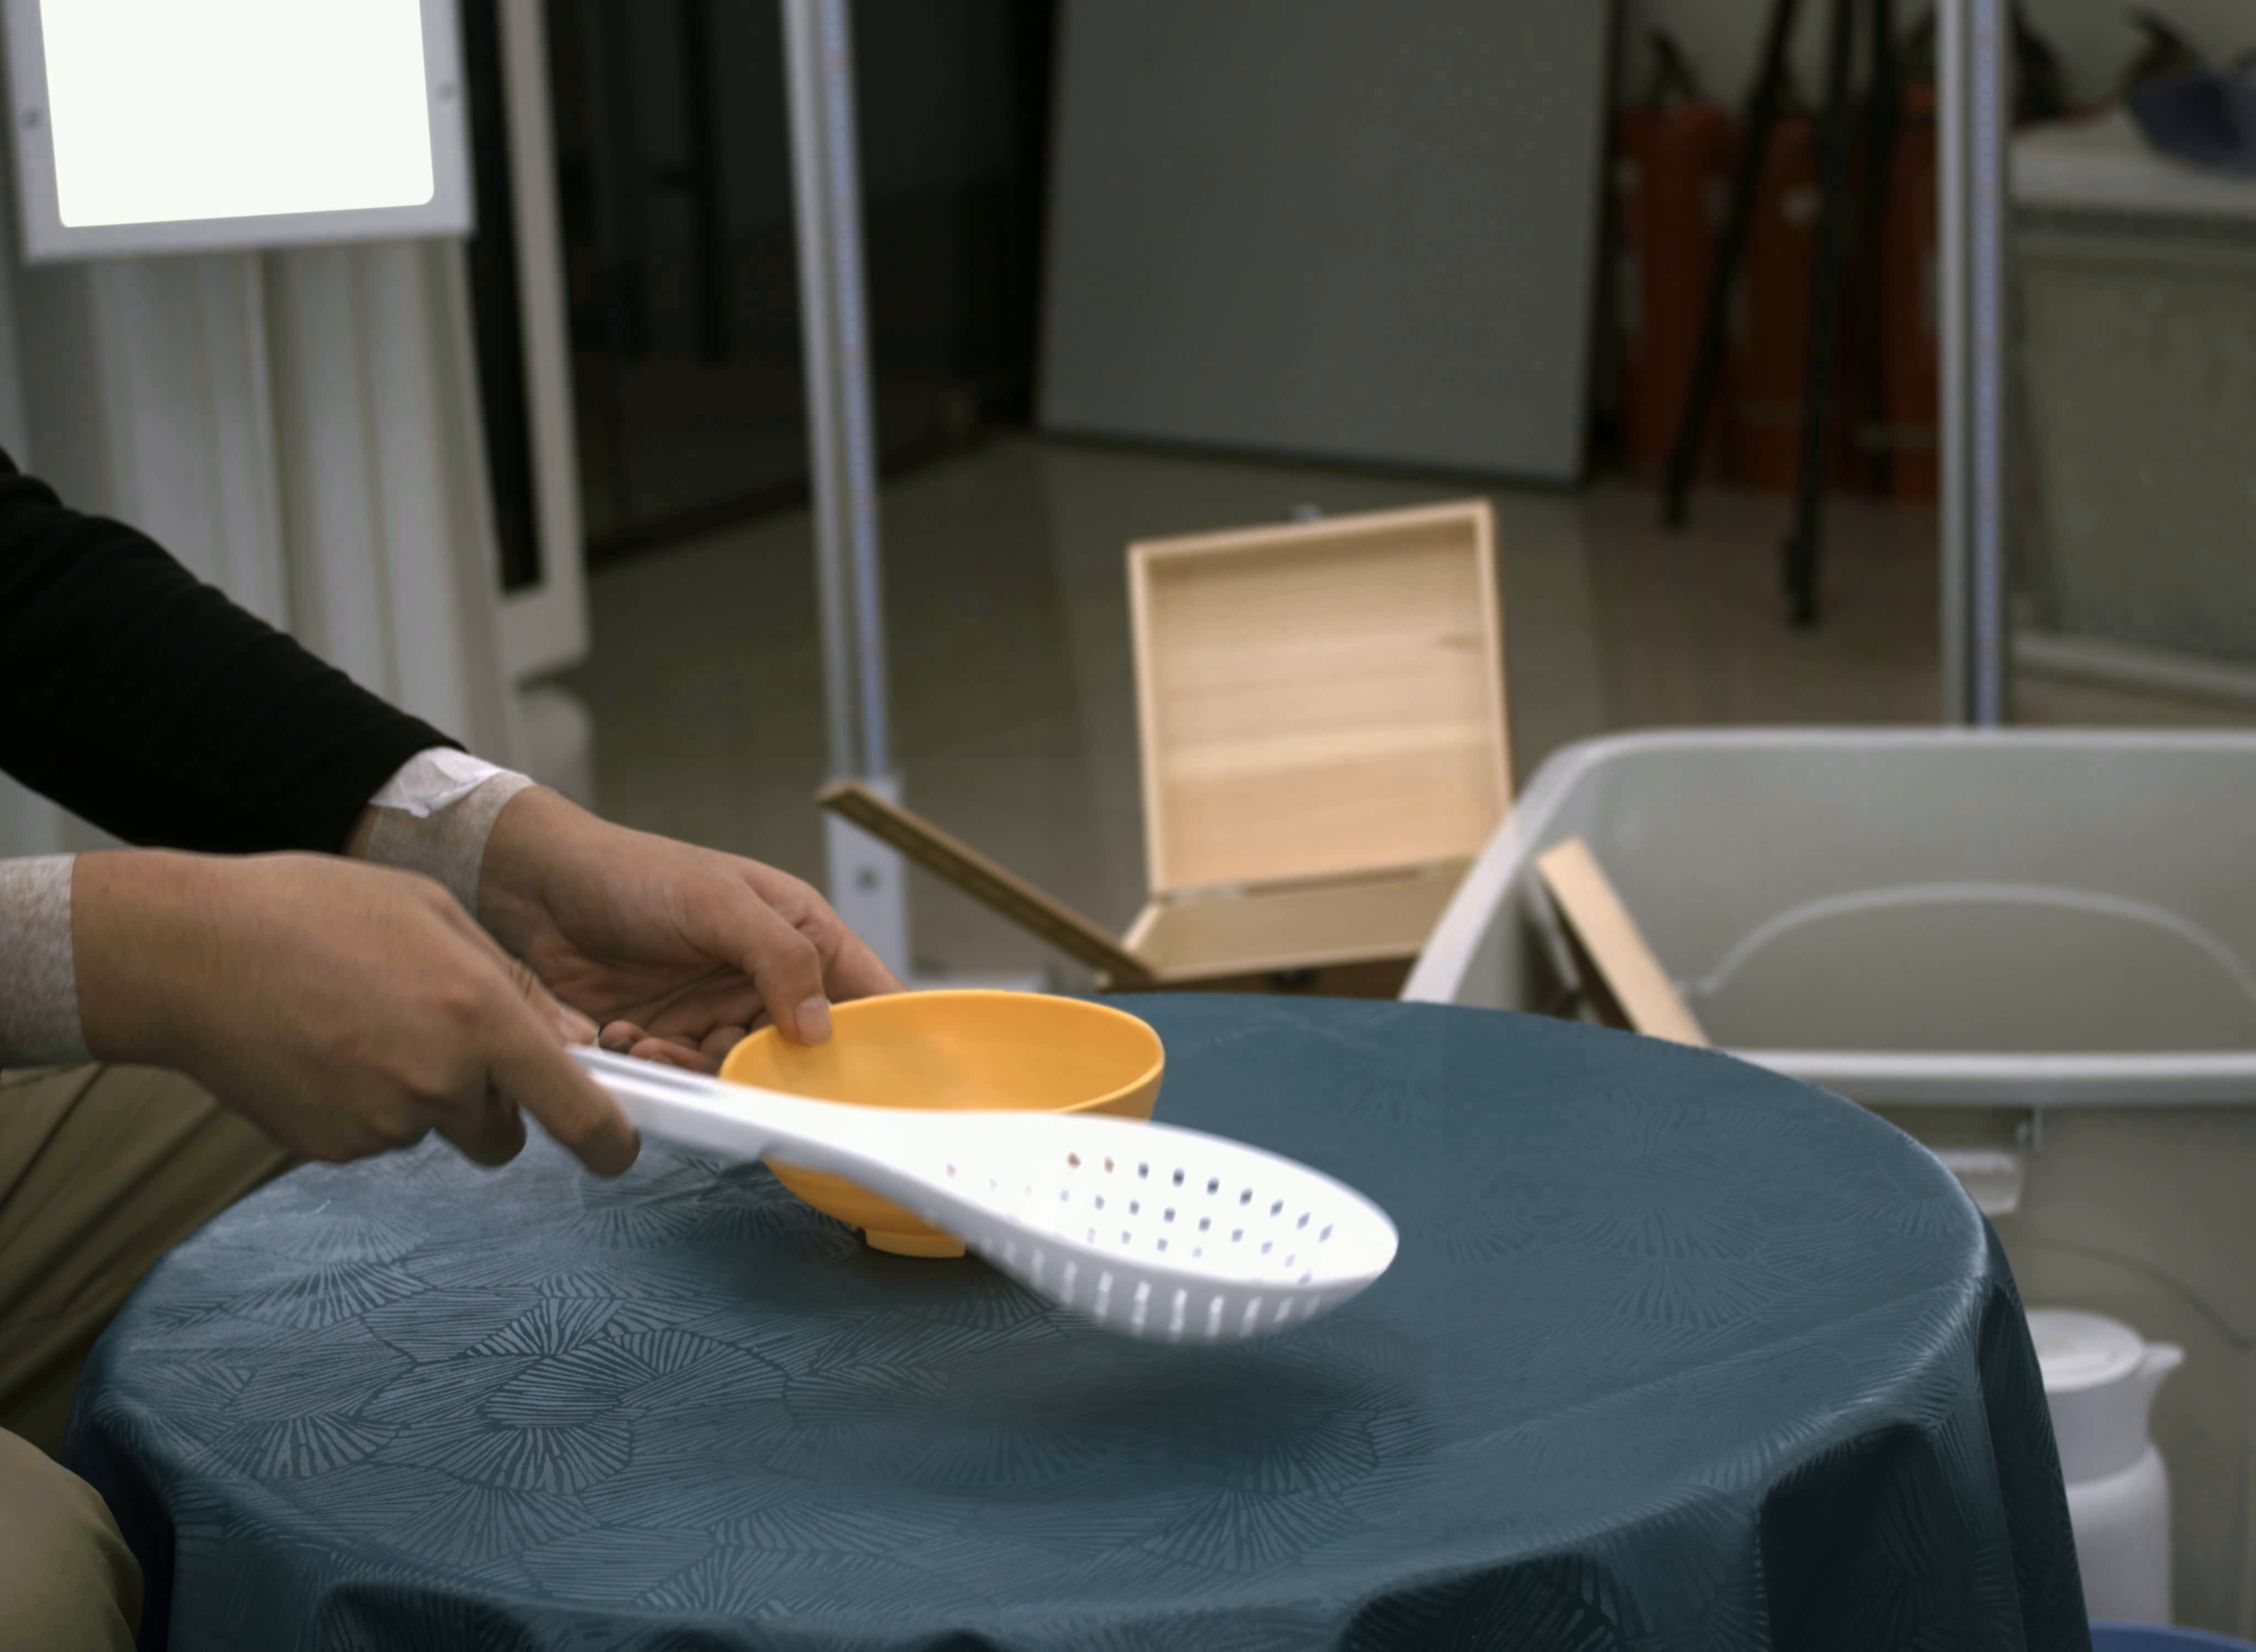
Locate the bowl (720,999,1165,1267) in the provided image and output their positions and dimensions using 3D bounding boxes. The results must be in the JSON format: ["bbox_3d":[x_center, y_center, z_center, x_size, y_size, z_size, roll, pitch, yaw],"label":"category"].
[{"bbox_3d":[-0.059,0.103,1.739,0.143,0.061,0.145,-1,14,-1],"label":"bowl"}]

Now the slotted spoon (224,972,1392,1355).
[{"bbox_3d":[-0.094,0.092,1.569,0.347,0.046,0.135,18,14,4],"label":"slotted spoon"}]
